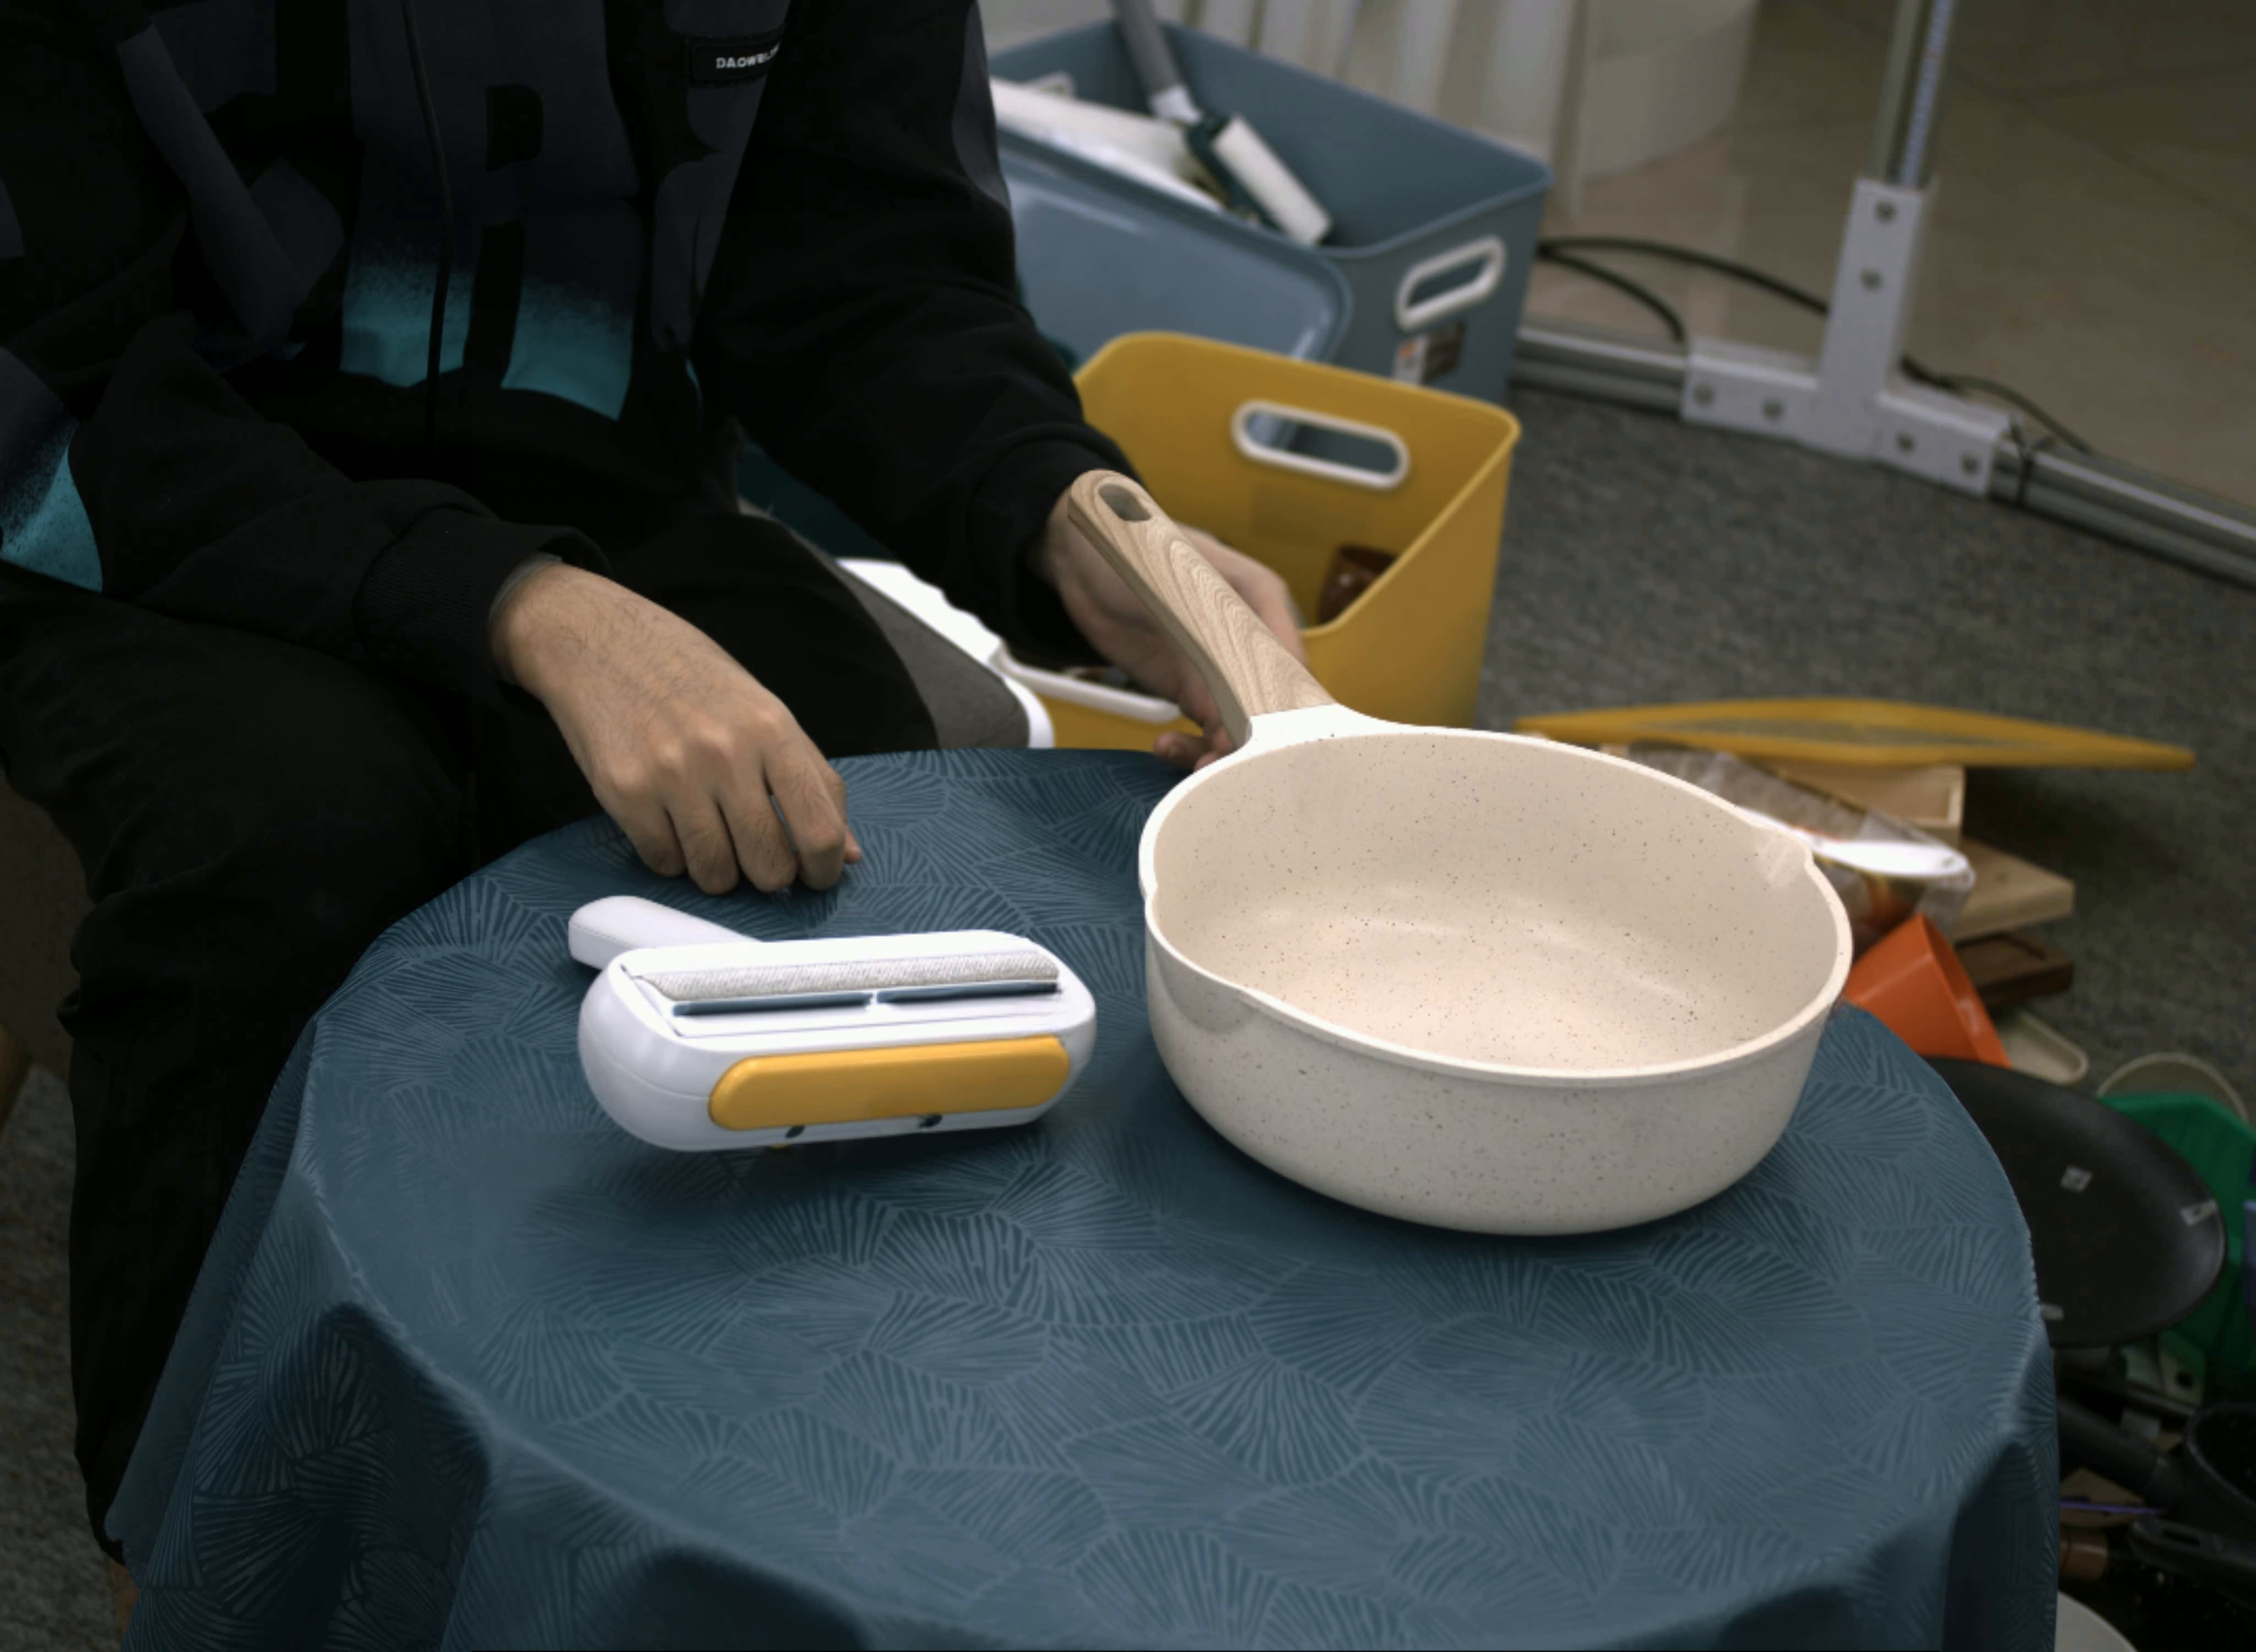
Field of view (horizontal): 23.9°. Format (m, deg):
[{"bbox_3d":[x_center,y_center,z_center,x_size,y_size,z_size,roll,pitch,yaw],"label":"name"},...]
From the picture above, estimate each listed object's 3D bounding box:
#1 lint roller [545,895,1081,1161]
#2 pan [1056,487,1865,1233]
[{"bbox_3d":[-0.135,0.055,1.830,0.191,0.074,0.194,-5,26,-33],"label":"lint roller"},{"bbox_3d":[0.085,0.009,1.933,0.262,0.101,0.439,-11,32,-26],"label":"pan"}]
